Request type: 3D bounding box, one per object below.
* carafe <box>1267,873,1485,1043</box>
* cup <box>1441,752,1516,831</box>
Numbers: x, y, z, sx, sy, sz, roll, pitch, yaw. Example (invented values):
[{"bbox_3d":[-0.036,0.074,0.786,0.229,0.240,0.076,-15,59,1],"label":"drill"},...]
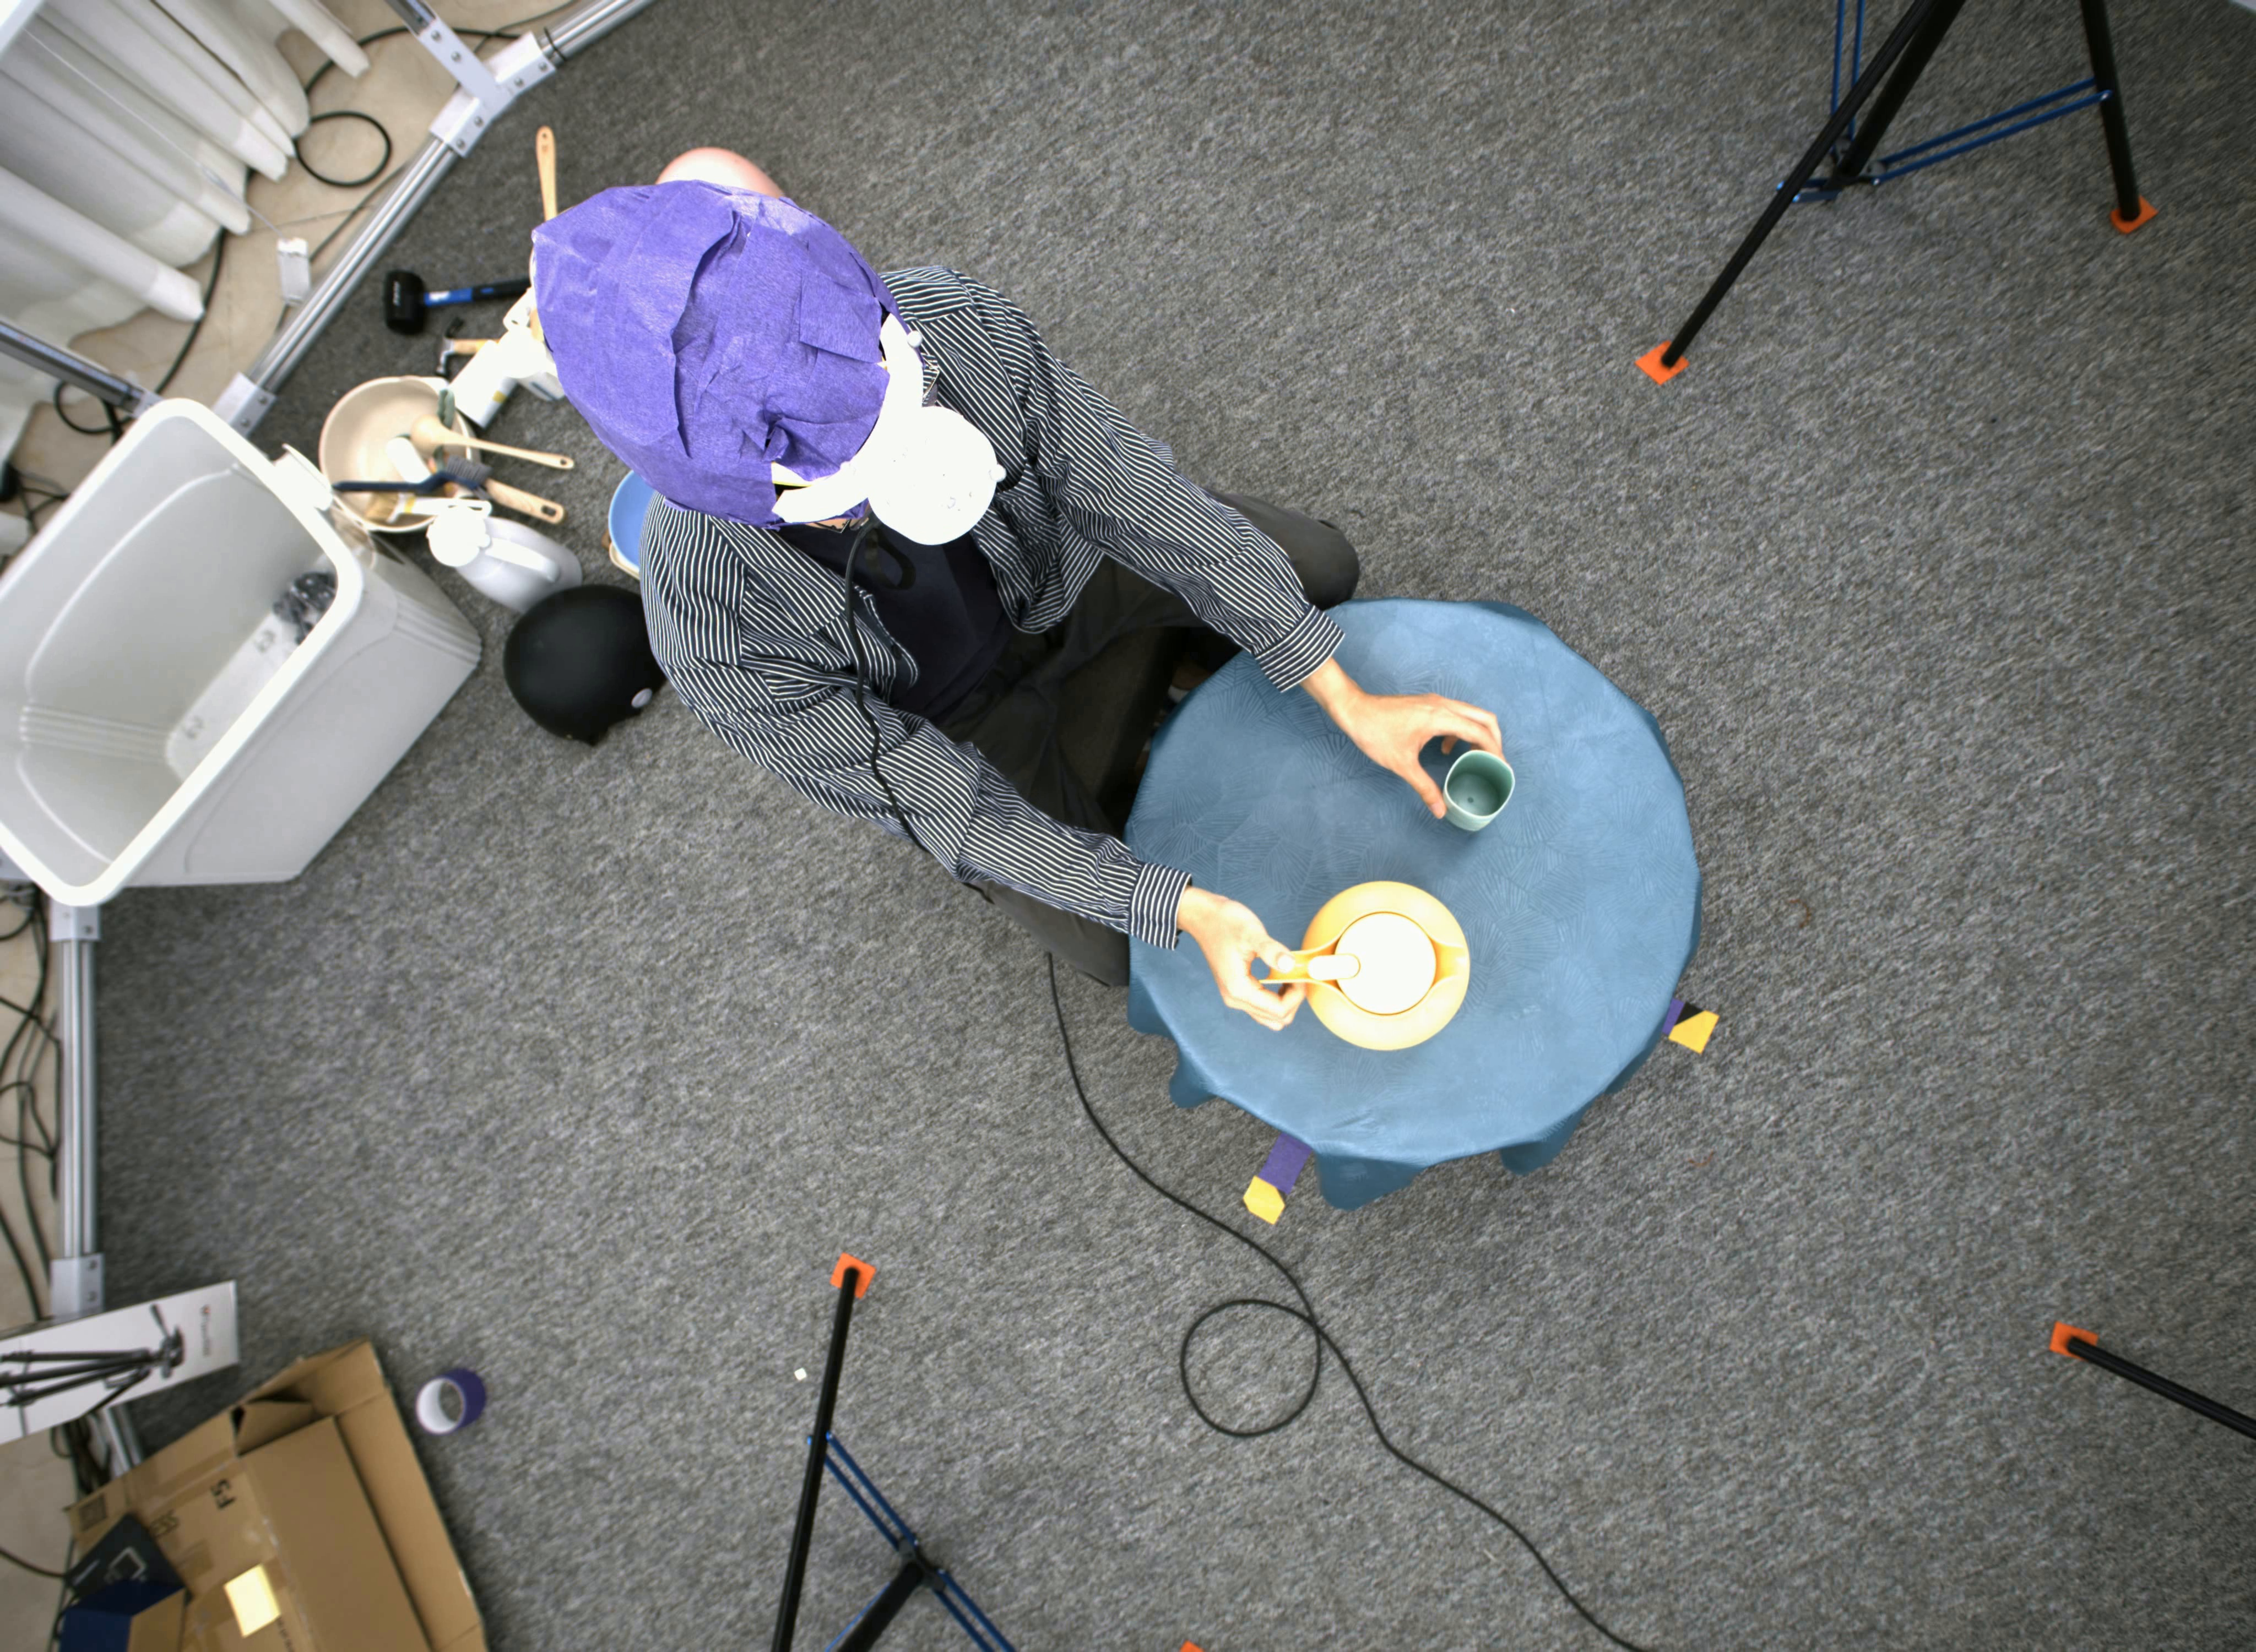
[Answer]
[{"bbox_3d":[0.236,0.125,1.321,0.203,0.261,0.162,-5,84,9],"label":"carafe"},{"bbox_3d":[0.348,-0.035,1.377,0.067,0.132,0.066,-1,85,11],"label":"cup"}]
